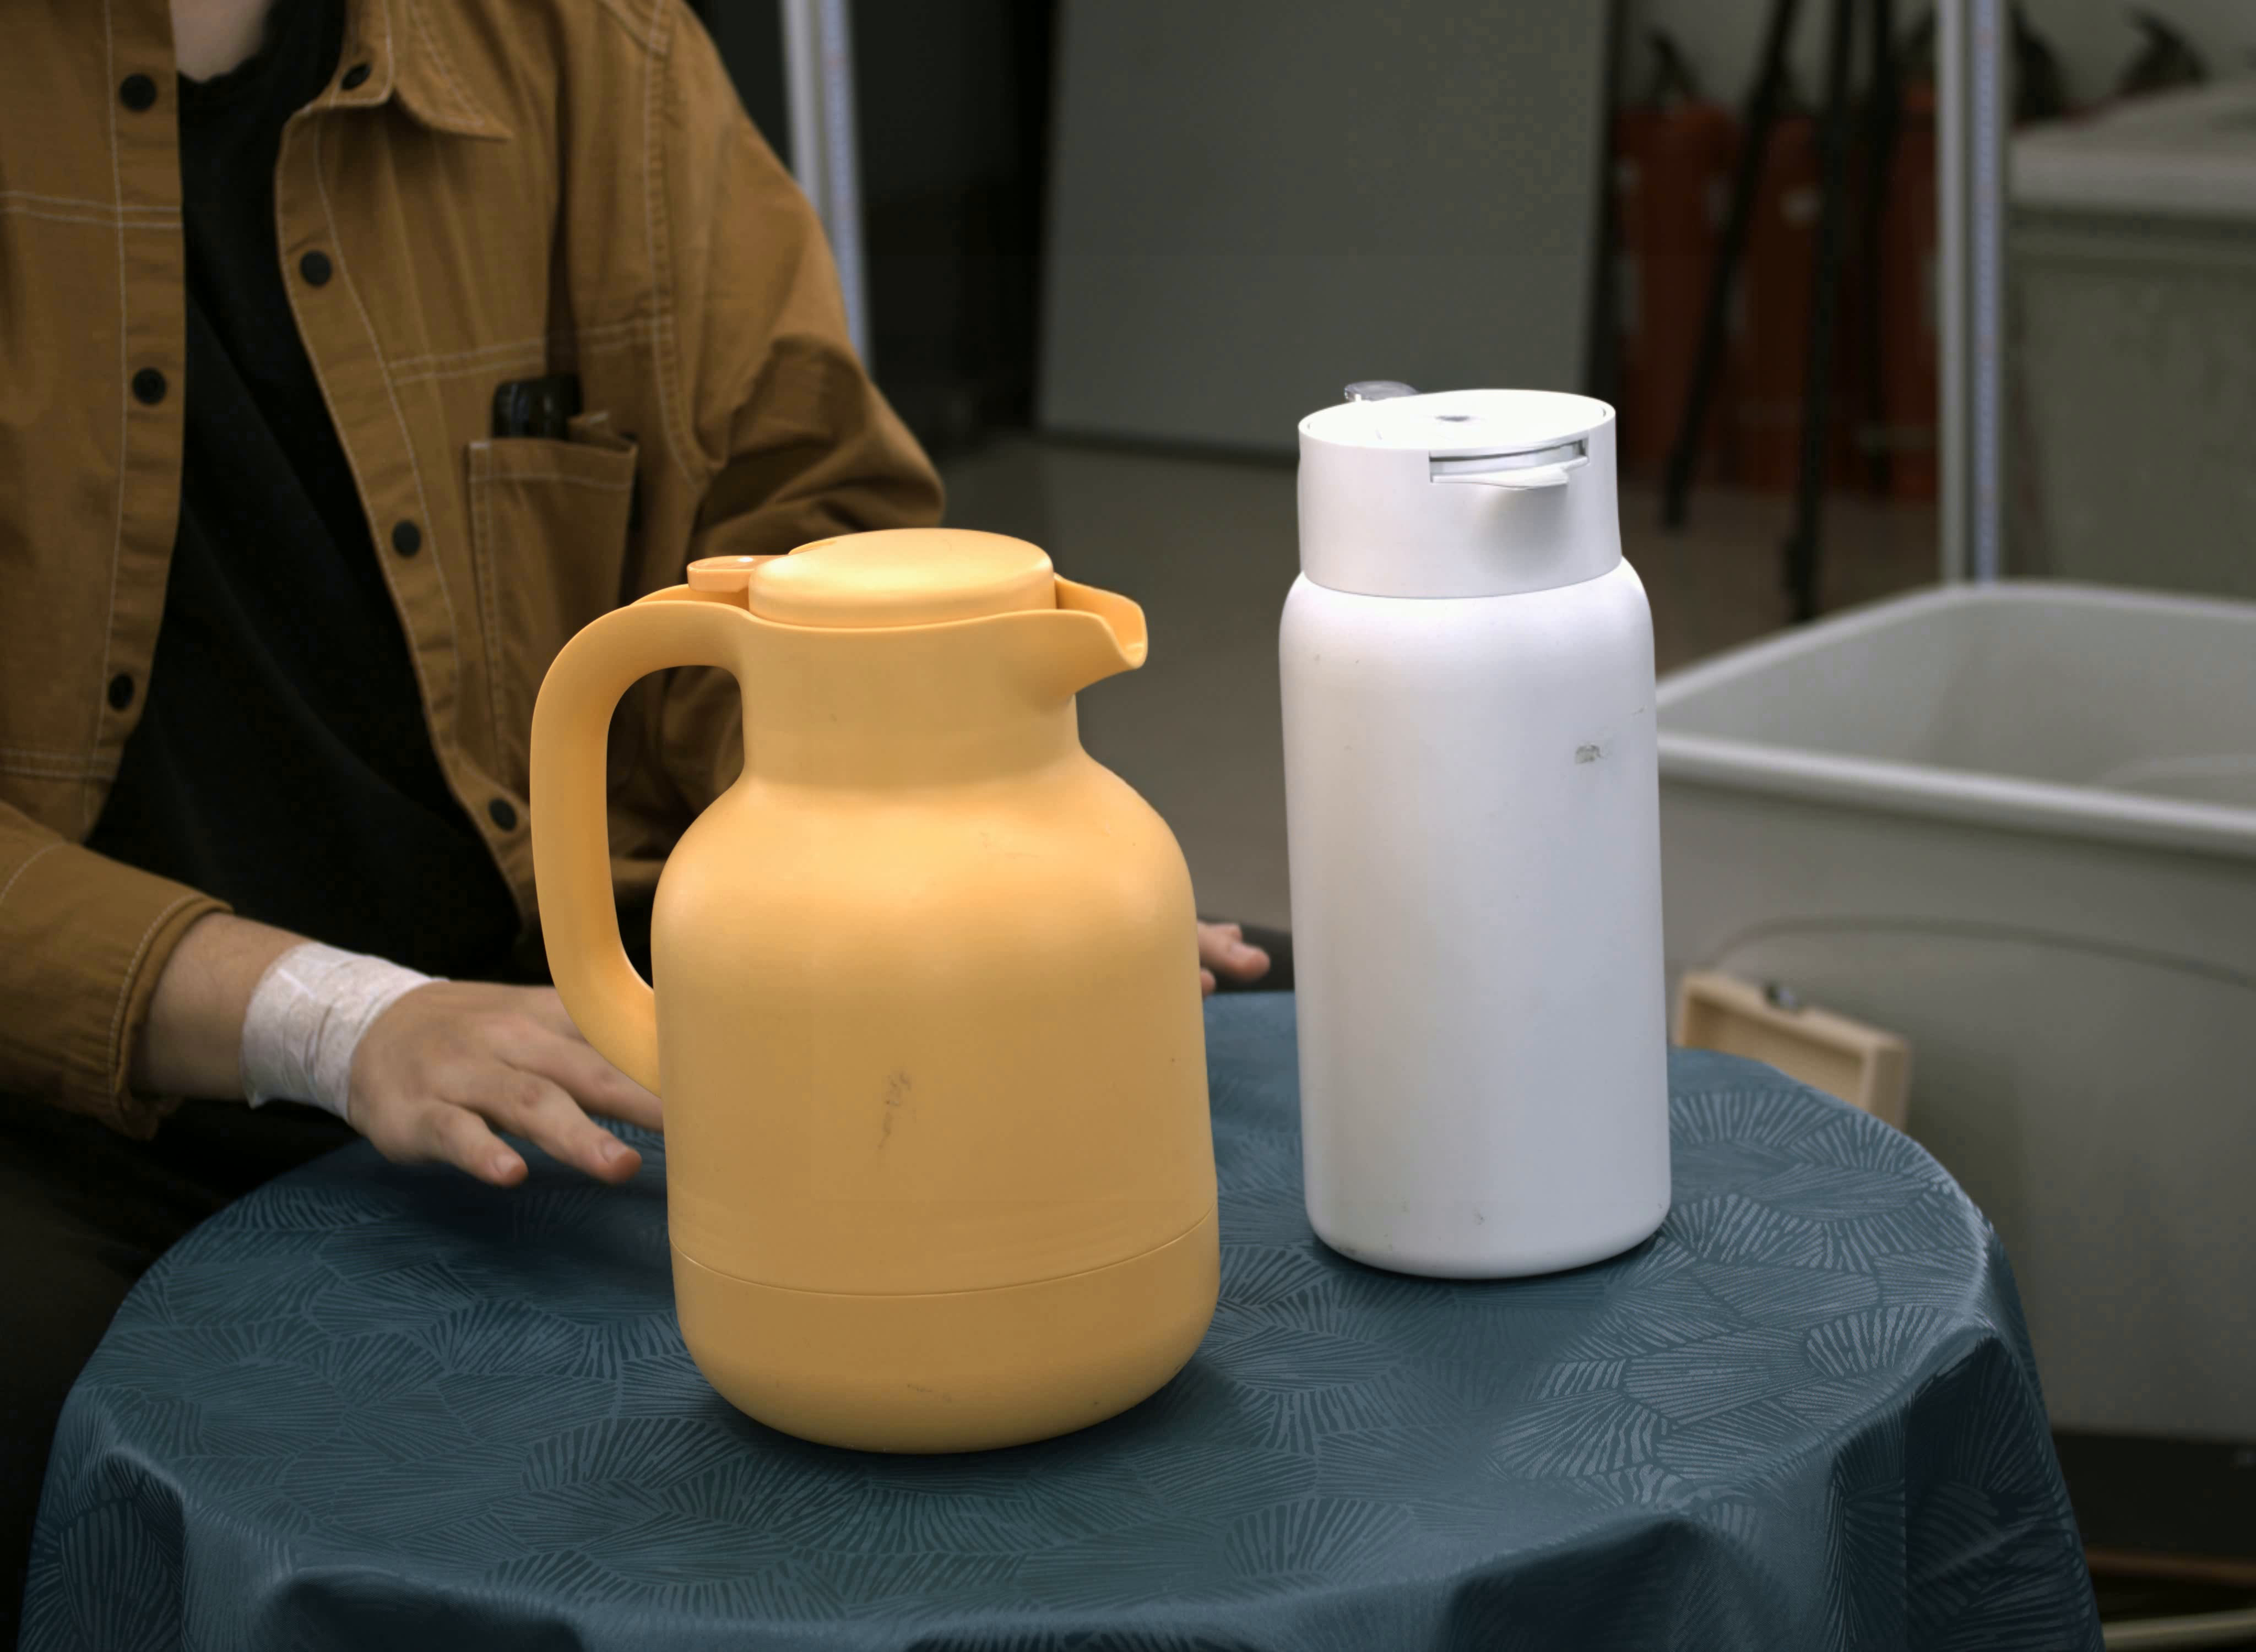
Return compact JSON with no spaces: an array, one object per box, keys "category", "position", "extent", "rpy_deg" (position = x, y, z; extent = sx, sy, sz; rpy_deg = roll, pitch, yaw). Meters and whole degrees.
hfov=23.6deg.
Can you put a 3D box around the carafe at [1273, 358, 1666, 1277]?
[{"category":"carafe","position":[0.099,-0.006,1.695],"extent":[0.121,0.272,0.174],"rpy_deg":[-10,15,-18]}]

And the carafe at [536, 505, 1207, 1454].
[{"category":"carafe","position":[-0.077,0.039,1.578],"extent":[0.203,0.263,0.161],"rpy_deg":[4,12,25]}]
